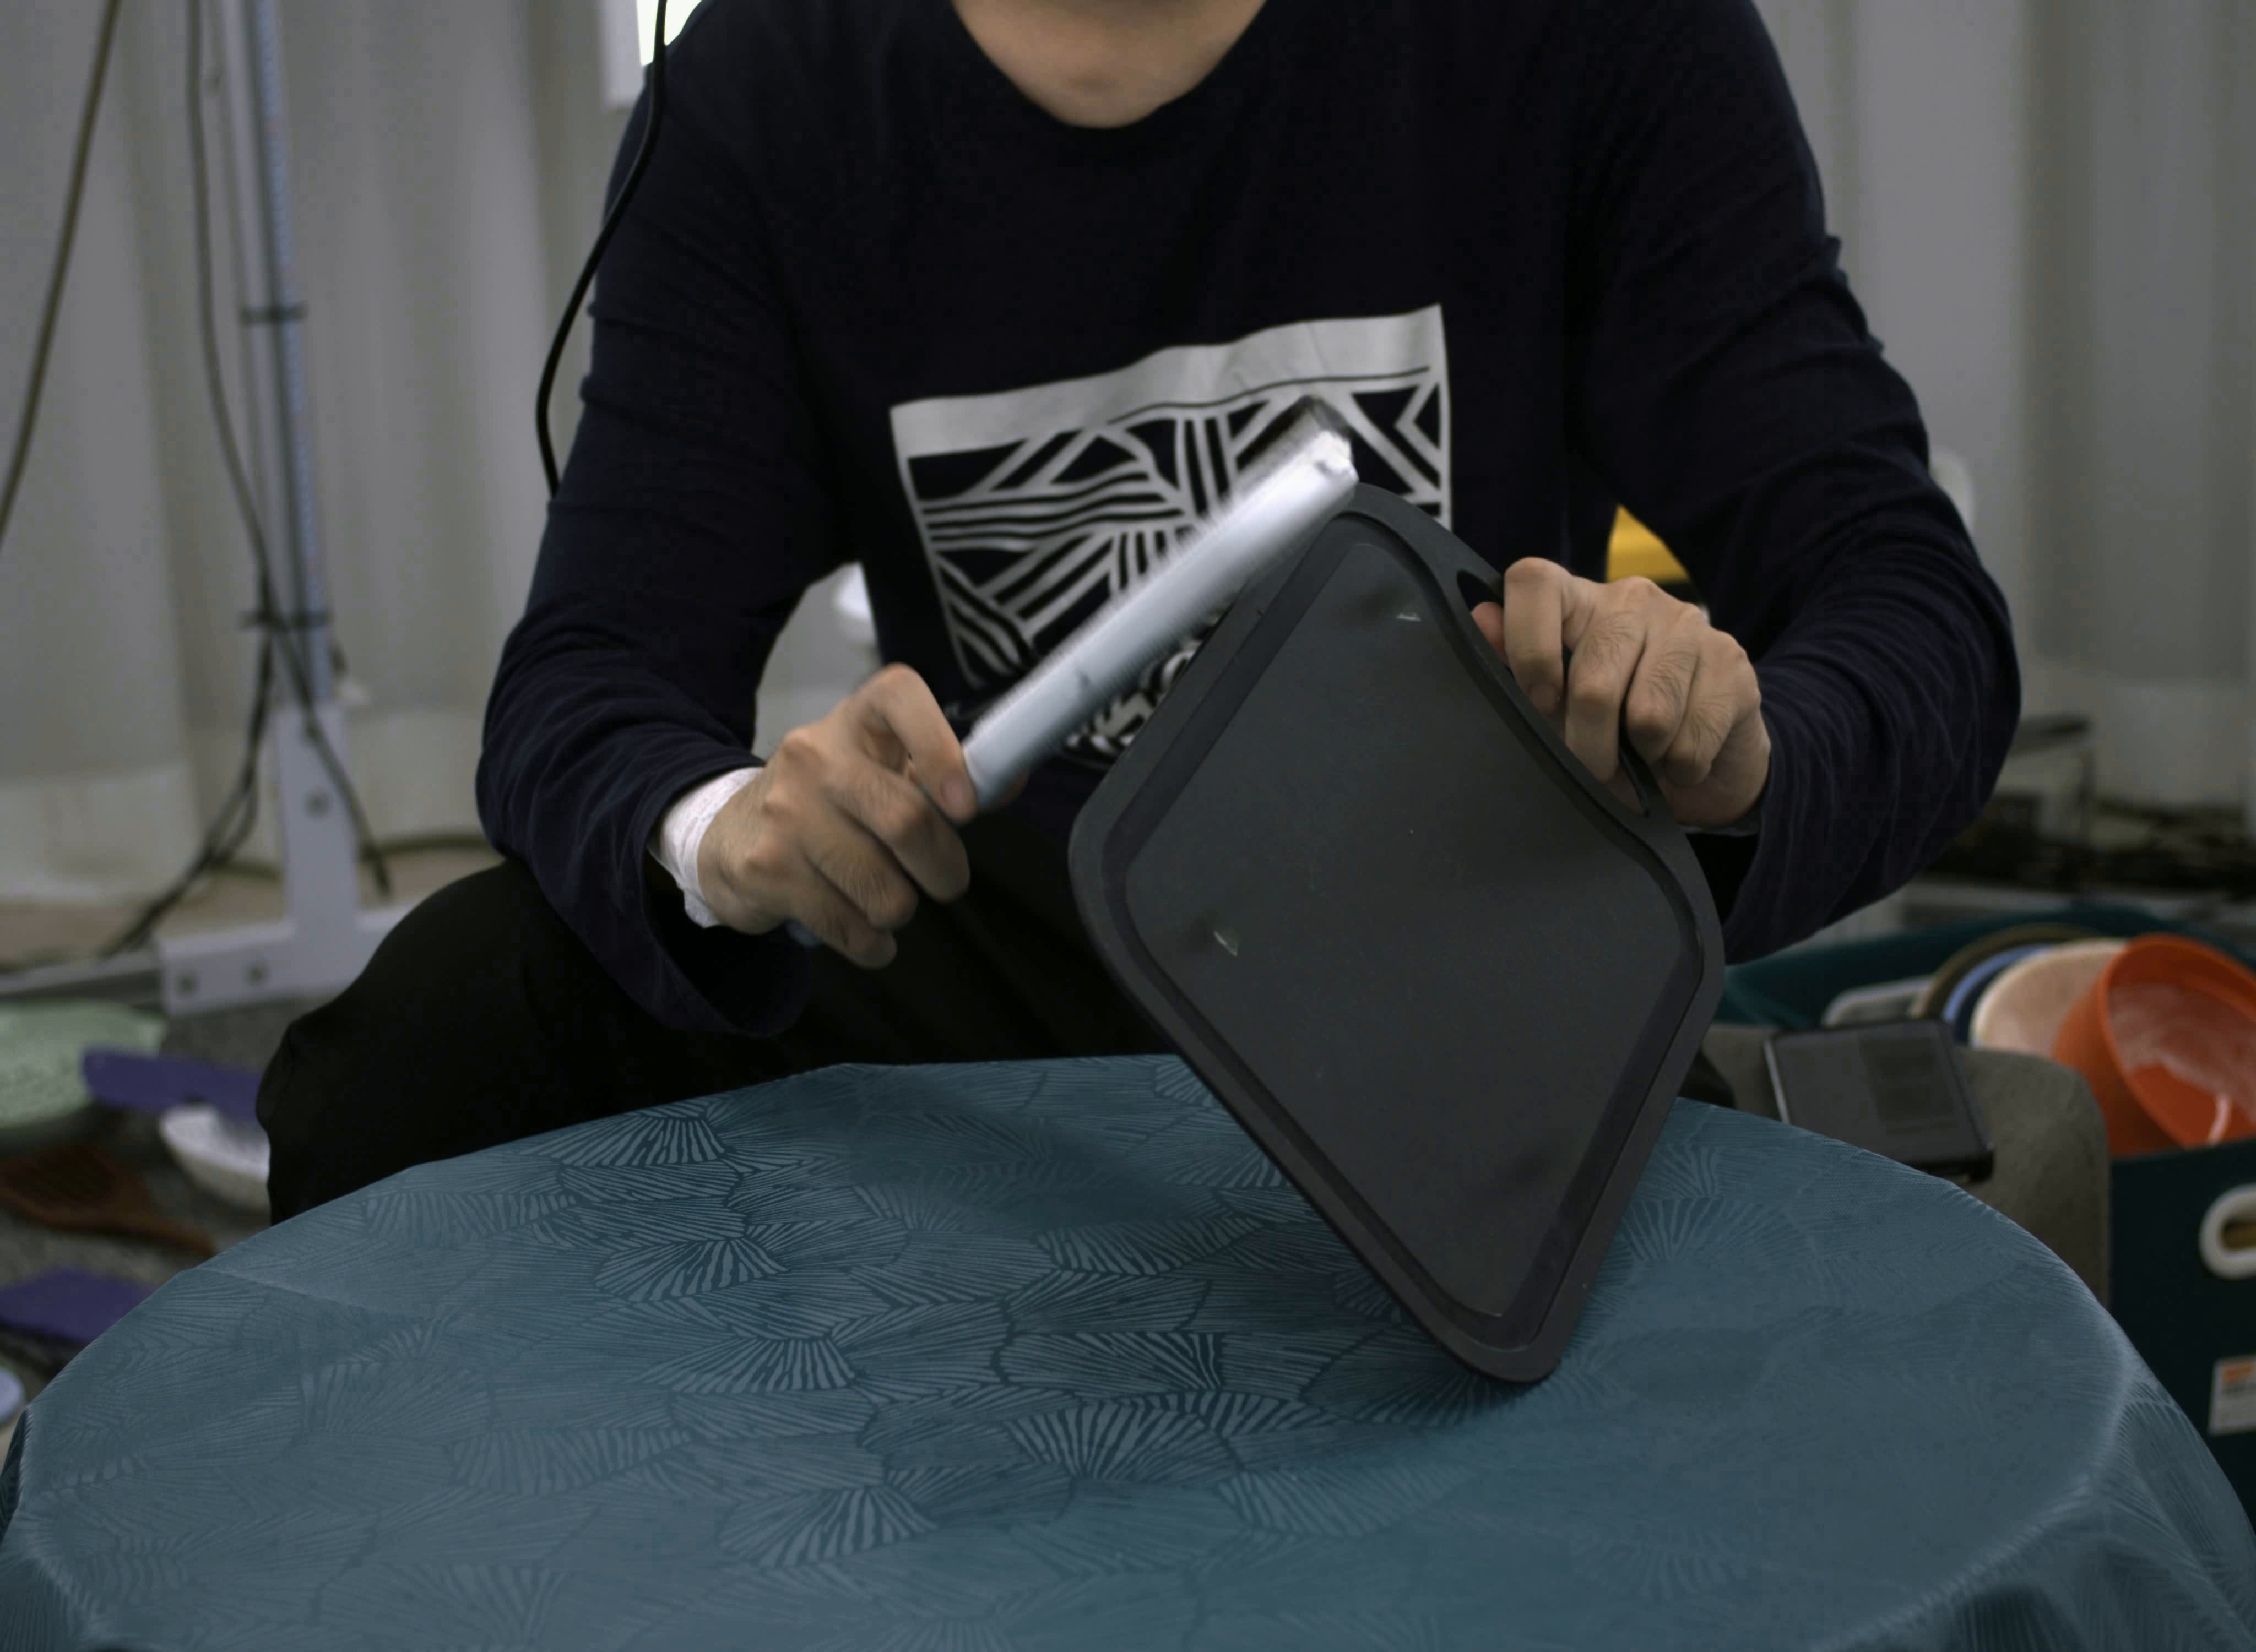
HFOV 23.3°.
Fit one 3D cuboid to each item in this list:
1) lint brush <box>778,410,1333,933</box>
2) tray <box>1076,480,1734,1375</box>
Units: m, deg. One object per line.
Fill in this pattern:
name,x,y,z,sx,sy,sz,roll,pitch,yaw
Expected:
lint brush,-0.028,-0.042,1.695,0.307,0.021,0.060,-41,2,46
tray,0.092,0.018,1.636,0.010,0.210,0.328,-36,9,32
